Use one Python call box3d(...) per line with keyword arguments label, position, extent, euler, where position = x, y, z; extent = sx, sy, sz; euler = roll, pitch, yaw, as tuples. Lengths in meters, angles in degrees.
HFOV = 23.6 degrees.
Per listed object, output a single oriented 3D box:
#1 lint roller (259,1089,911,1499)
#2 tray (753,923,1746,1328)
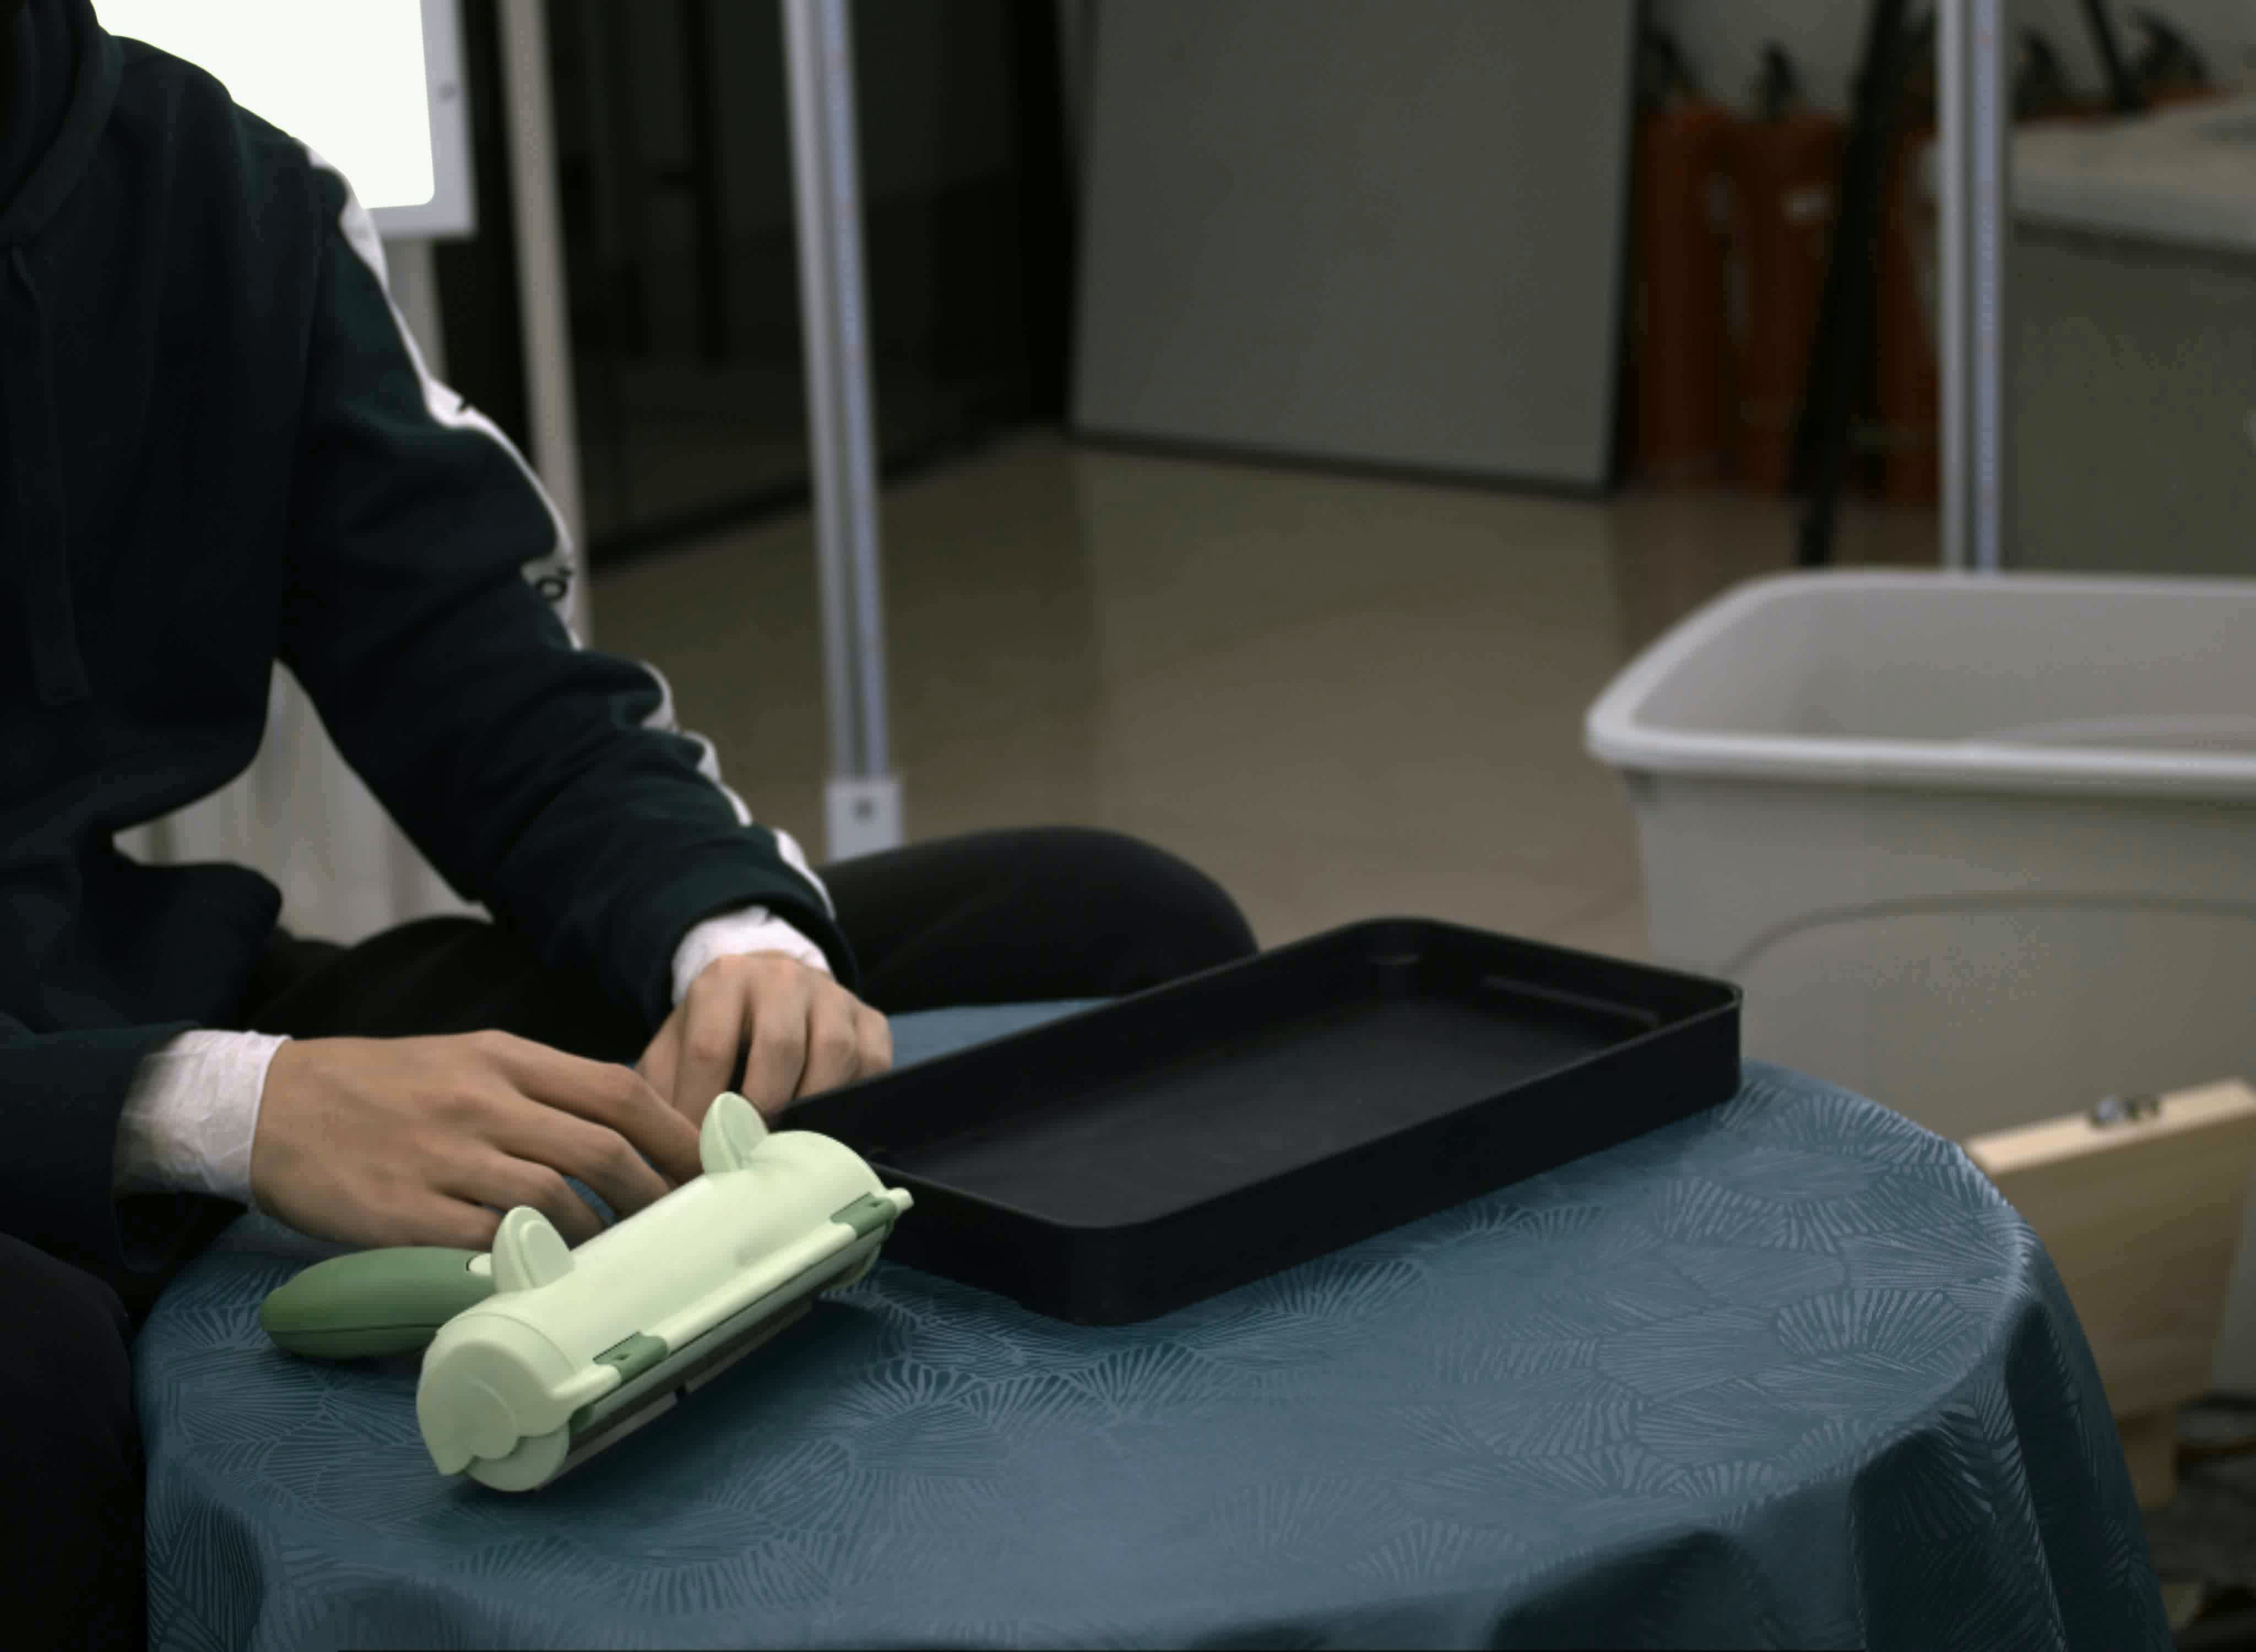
box3d(label="lint roller", position=(-0.187, 0.129, 1.626), extent=(0.184, 0.083, 0.196), euler=(7, 17, 27))
box3d(label="tray", position=(0.044, 0.094, 1.793), extent=(0.311, 0.037, 0.186), euler=(-16, 18, -40))
